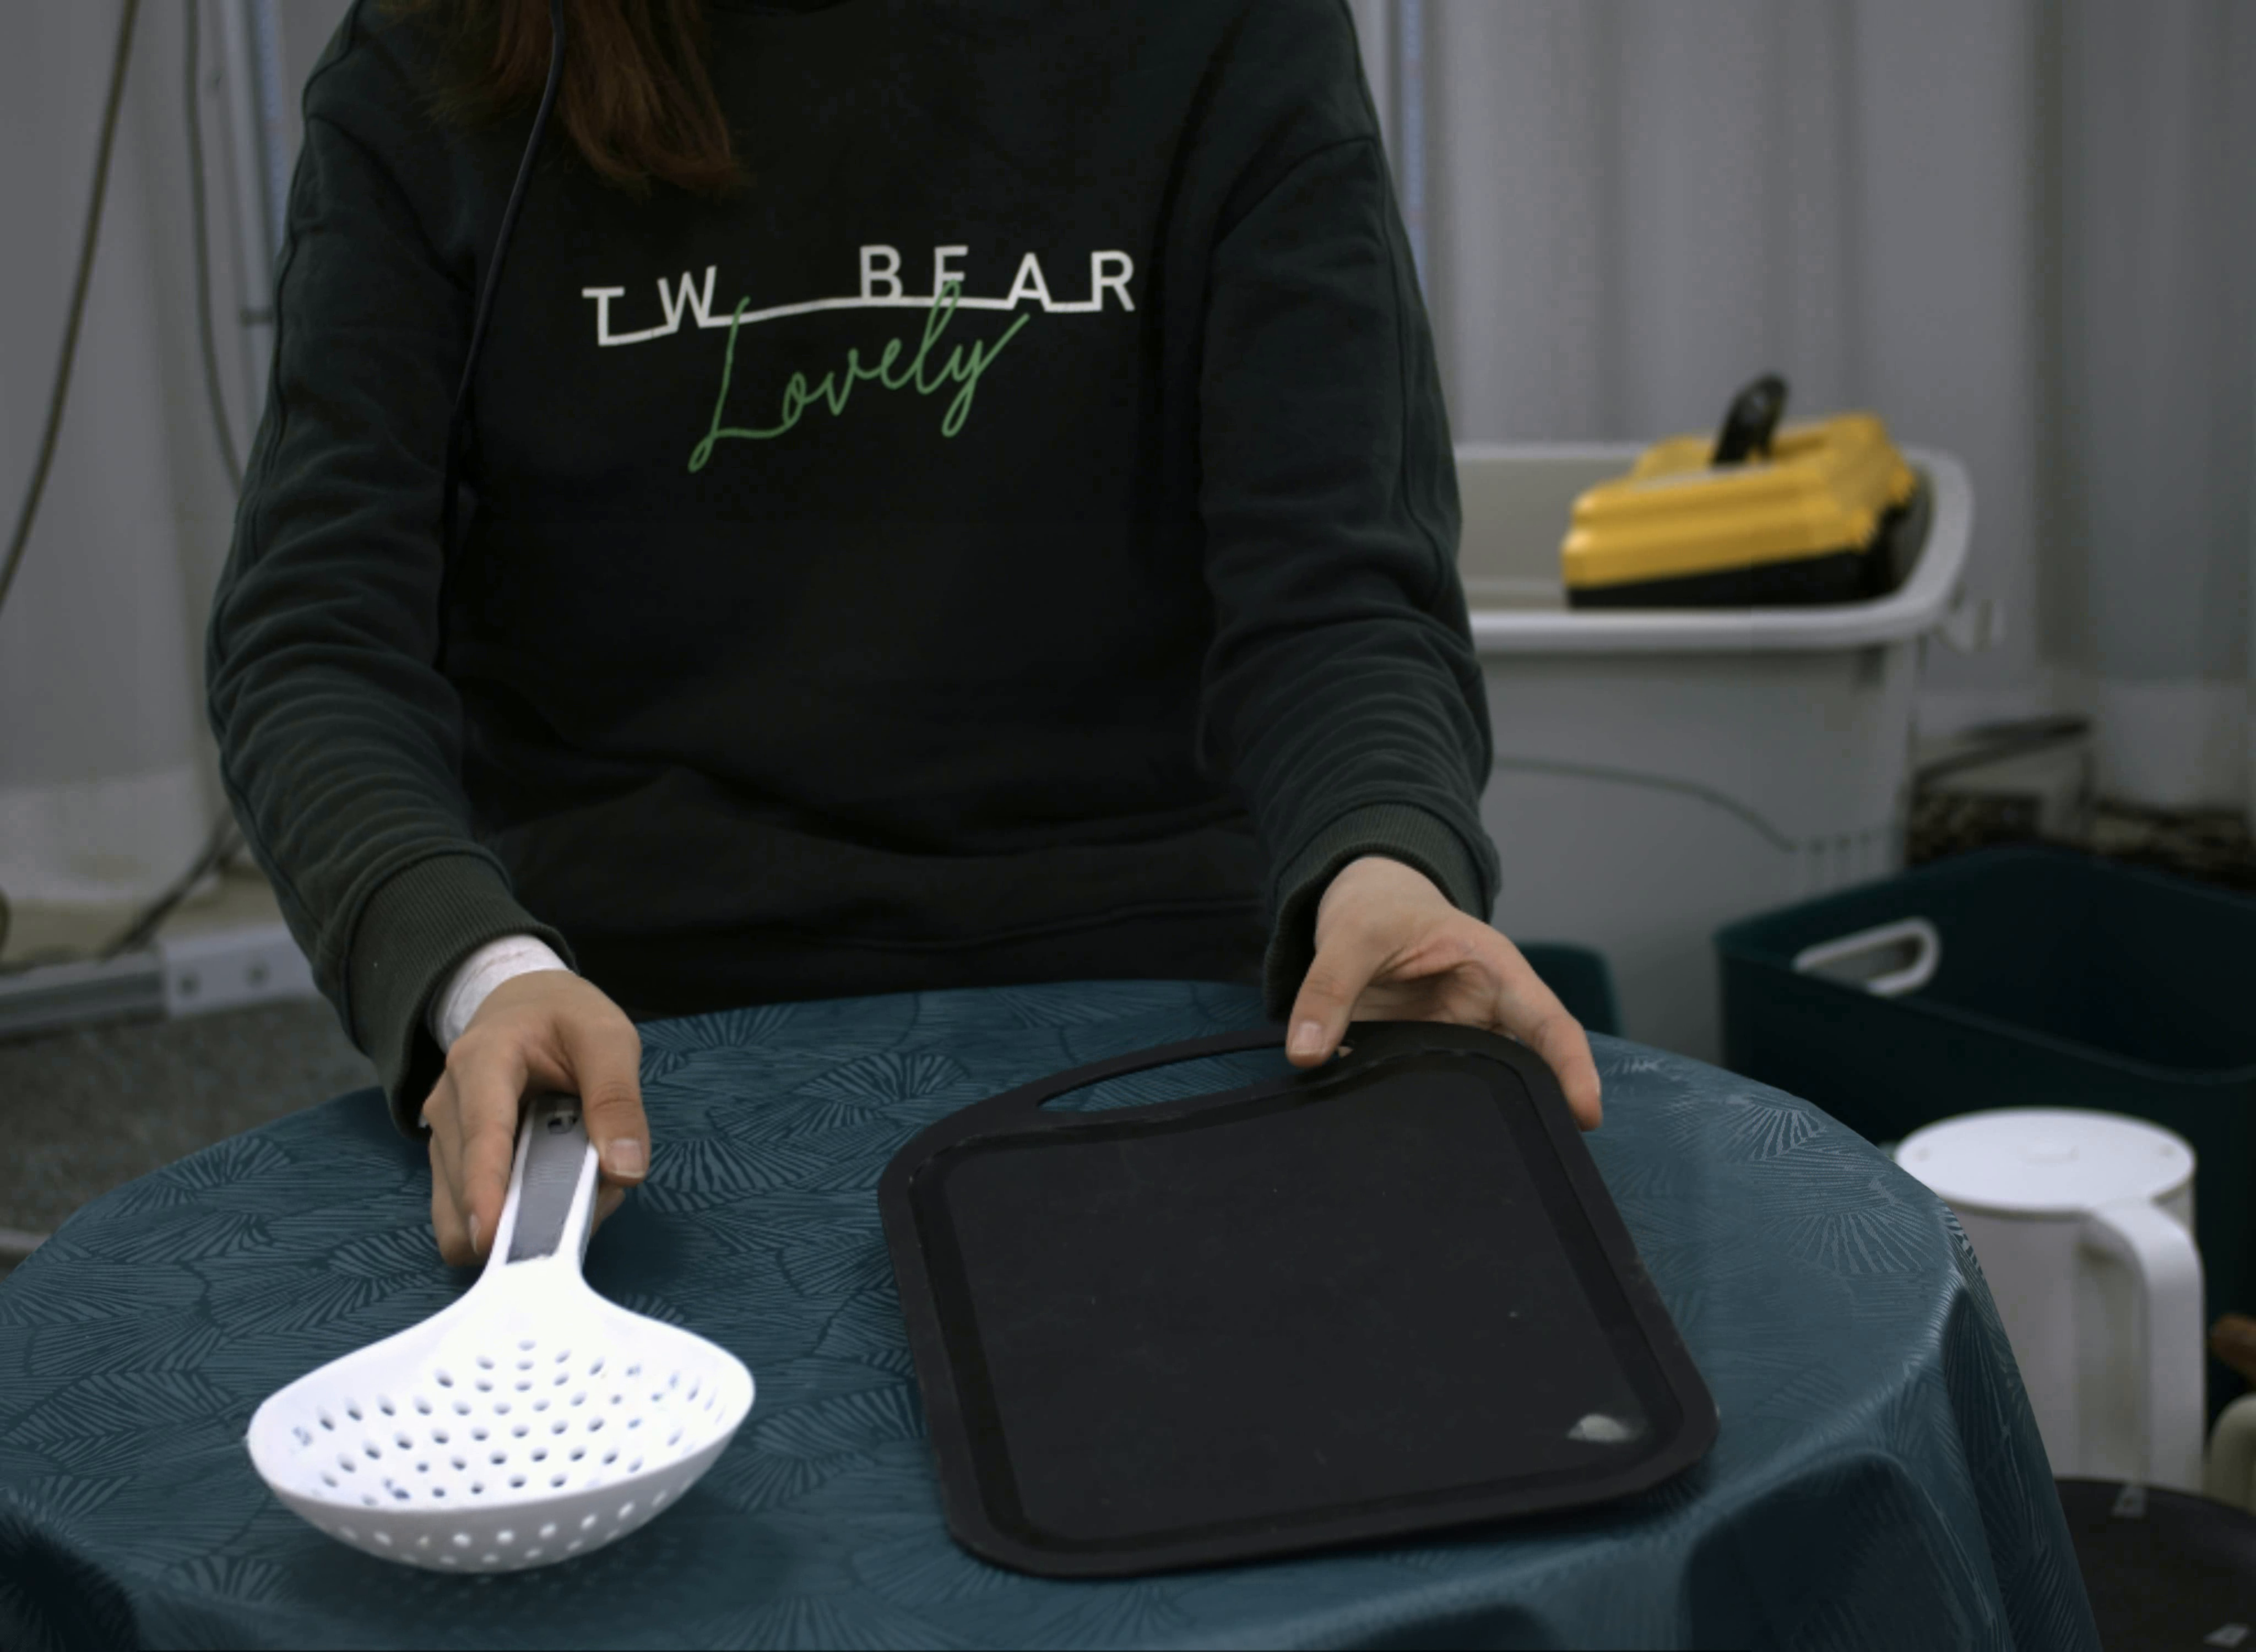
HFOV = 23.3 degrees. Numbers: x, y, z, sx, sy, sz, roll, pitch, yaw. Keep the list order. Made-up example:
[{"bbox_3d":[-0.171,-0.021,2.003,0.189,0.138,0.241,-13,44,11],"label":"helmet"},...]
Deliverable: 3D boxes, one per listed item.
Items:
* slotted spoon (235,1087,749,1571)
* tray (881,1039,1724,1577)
[{"bbox_3d":[-0.170,0.134,1.550,0.135,0.045,0.353,-3,19,0],"label":"slotted spoon"},{"bbox_3d":[0.040,0.128,1.565,0.210,0.010,0.329,-8,21,-5],"label":"tray"}]
